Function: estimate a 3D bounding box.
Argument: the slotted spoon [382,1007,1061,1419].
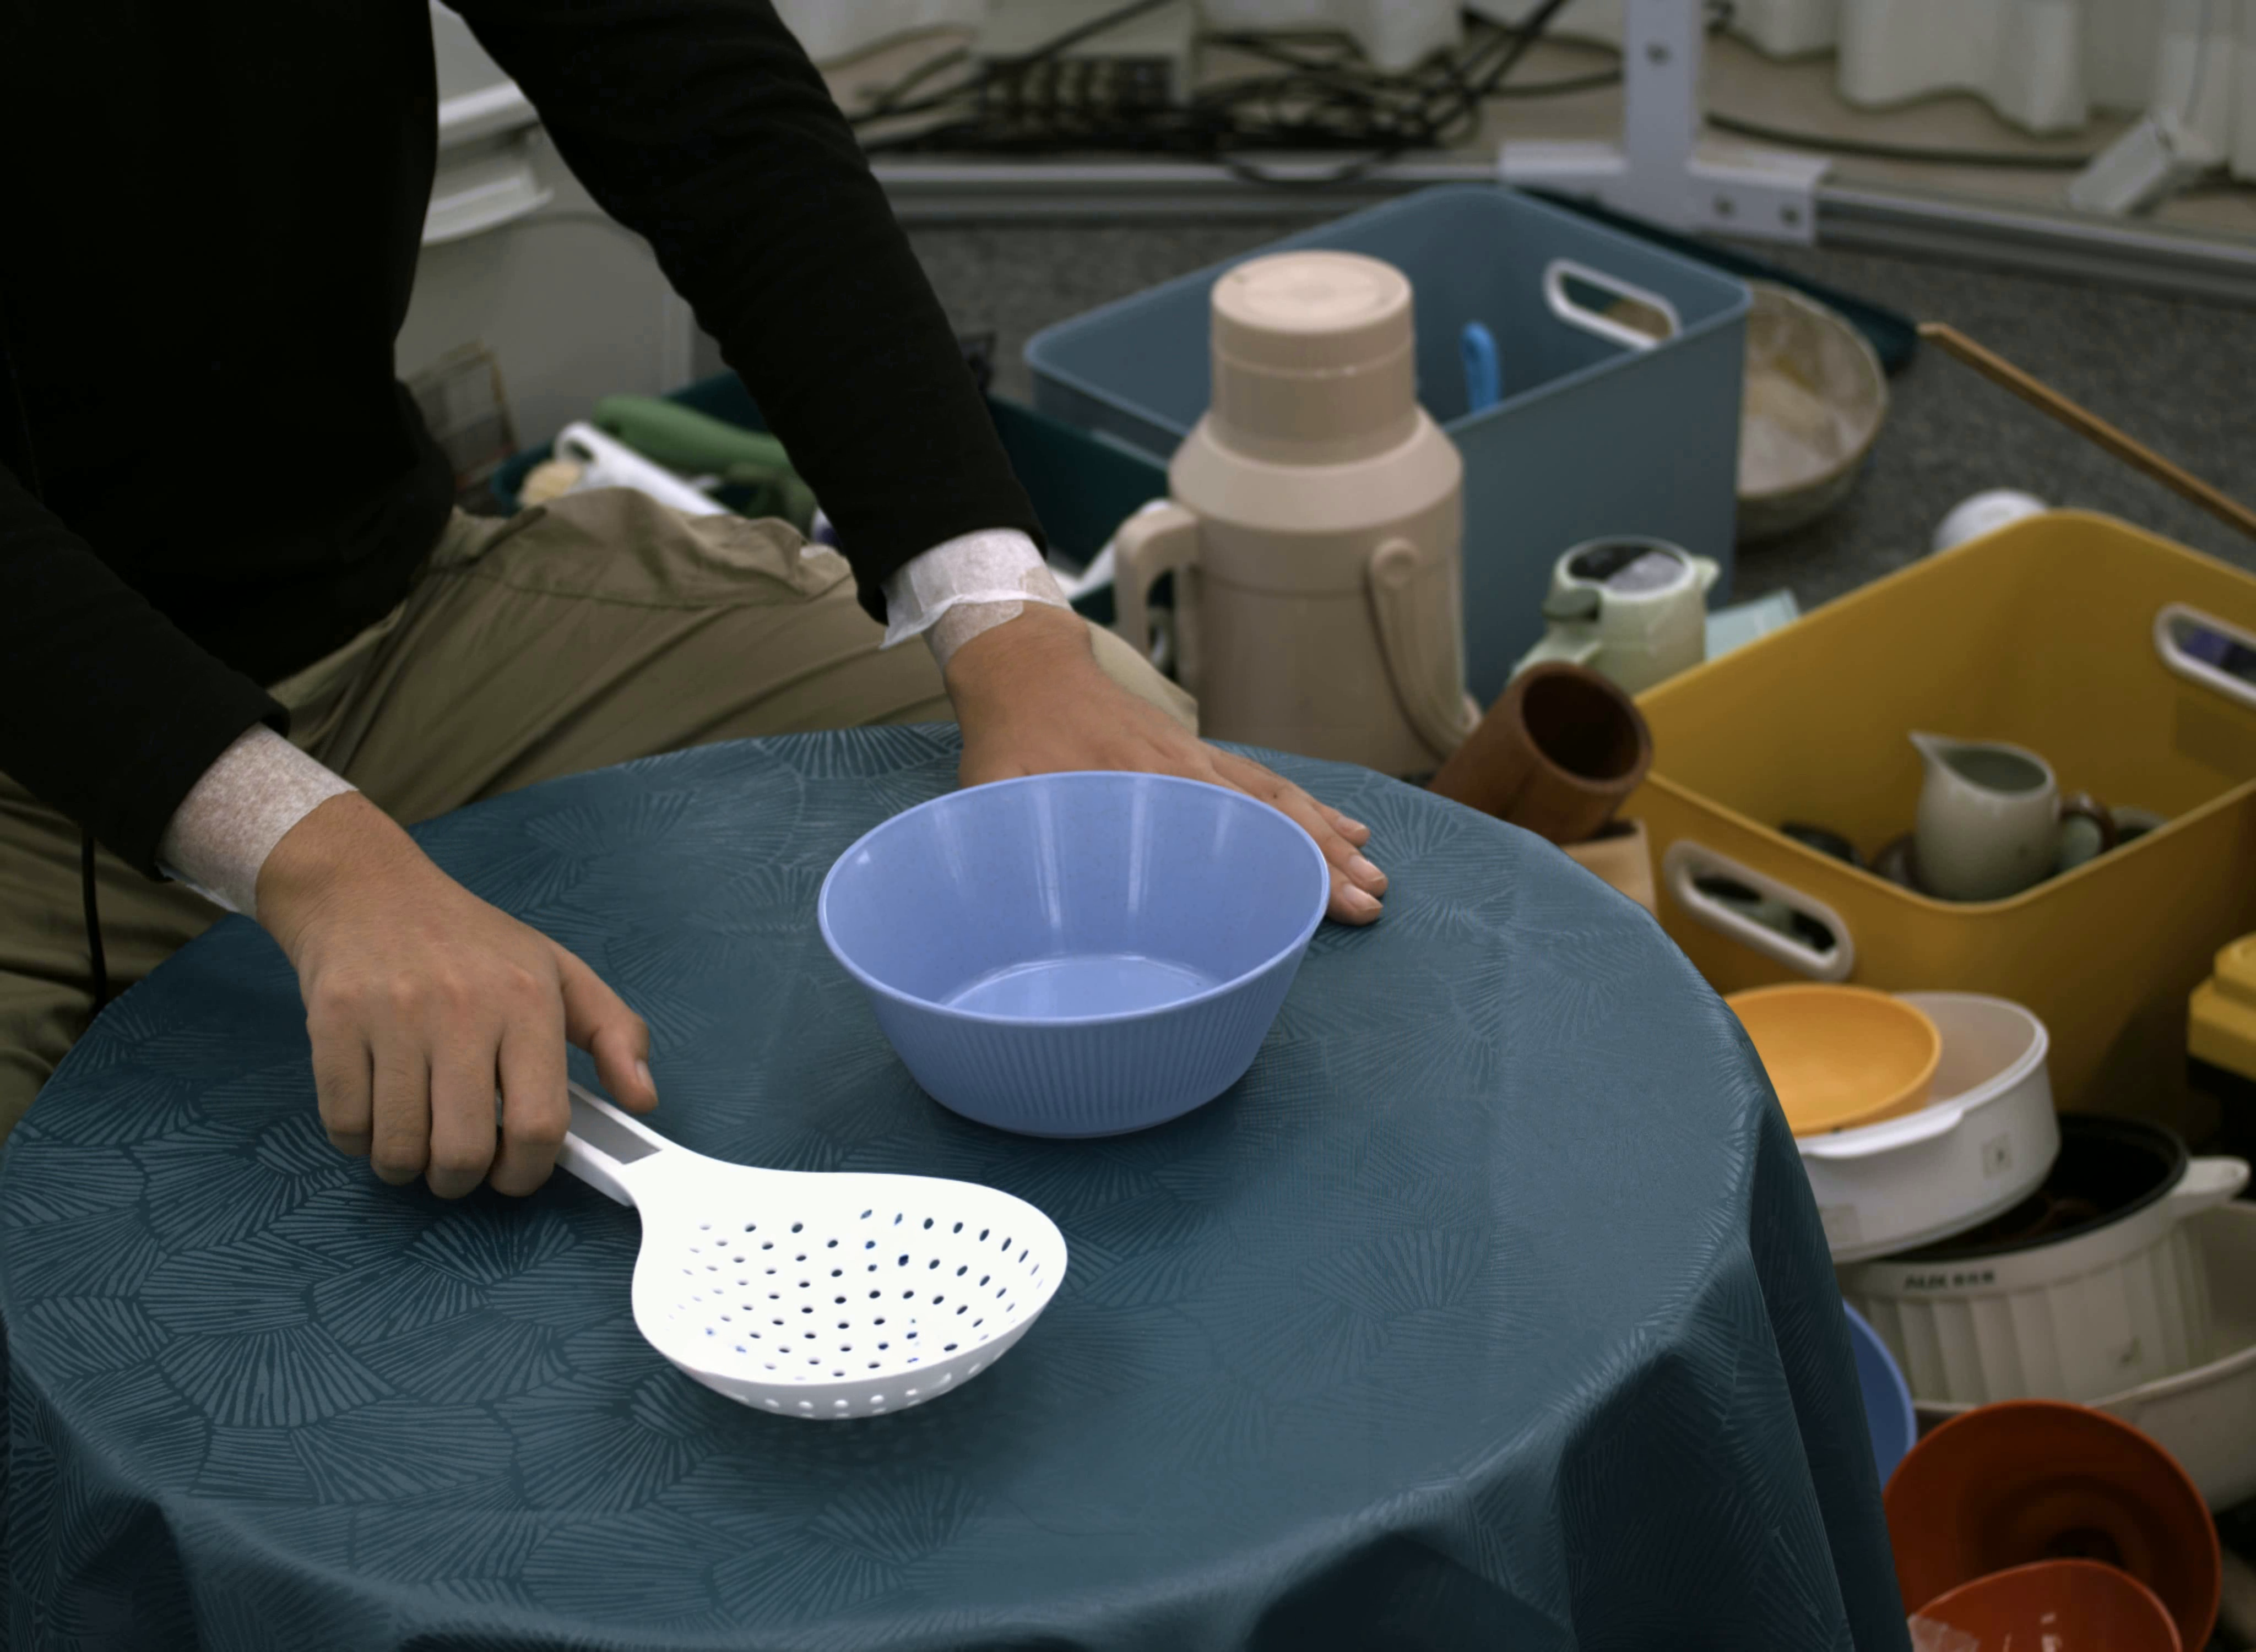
[{"bbox_3d":[-0.150,0.119,1.833,0.137,0.045,0.350,-22,32,-30],"label":"slotted spoon"}]

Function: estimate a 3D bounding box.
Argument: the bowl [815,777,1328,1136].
[{"bbox_3d":[-0.017,0.050,1.926,0.175,0.069,0.178,-3,26,2],"label":"bowl"}]
